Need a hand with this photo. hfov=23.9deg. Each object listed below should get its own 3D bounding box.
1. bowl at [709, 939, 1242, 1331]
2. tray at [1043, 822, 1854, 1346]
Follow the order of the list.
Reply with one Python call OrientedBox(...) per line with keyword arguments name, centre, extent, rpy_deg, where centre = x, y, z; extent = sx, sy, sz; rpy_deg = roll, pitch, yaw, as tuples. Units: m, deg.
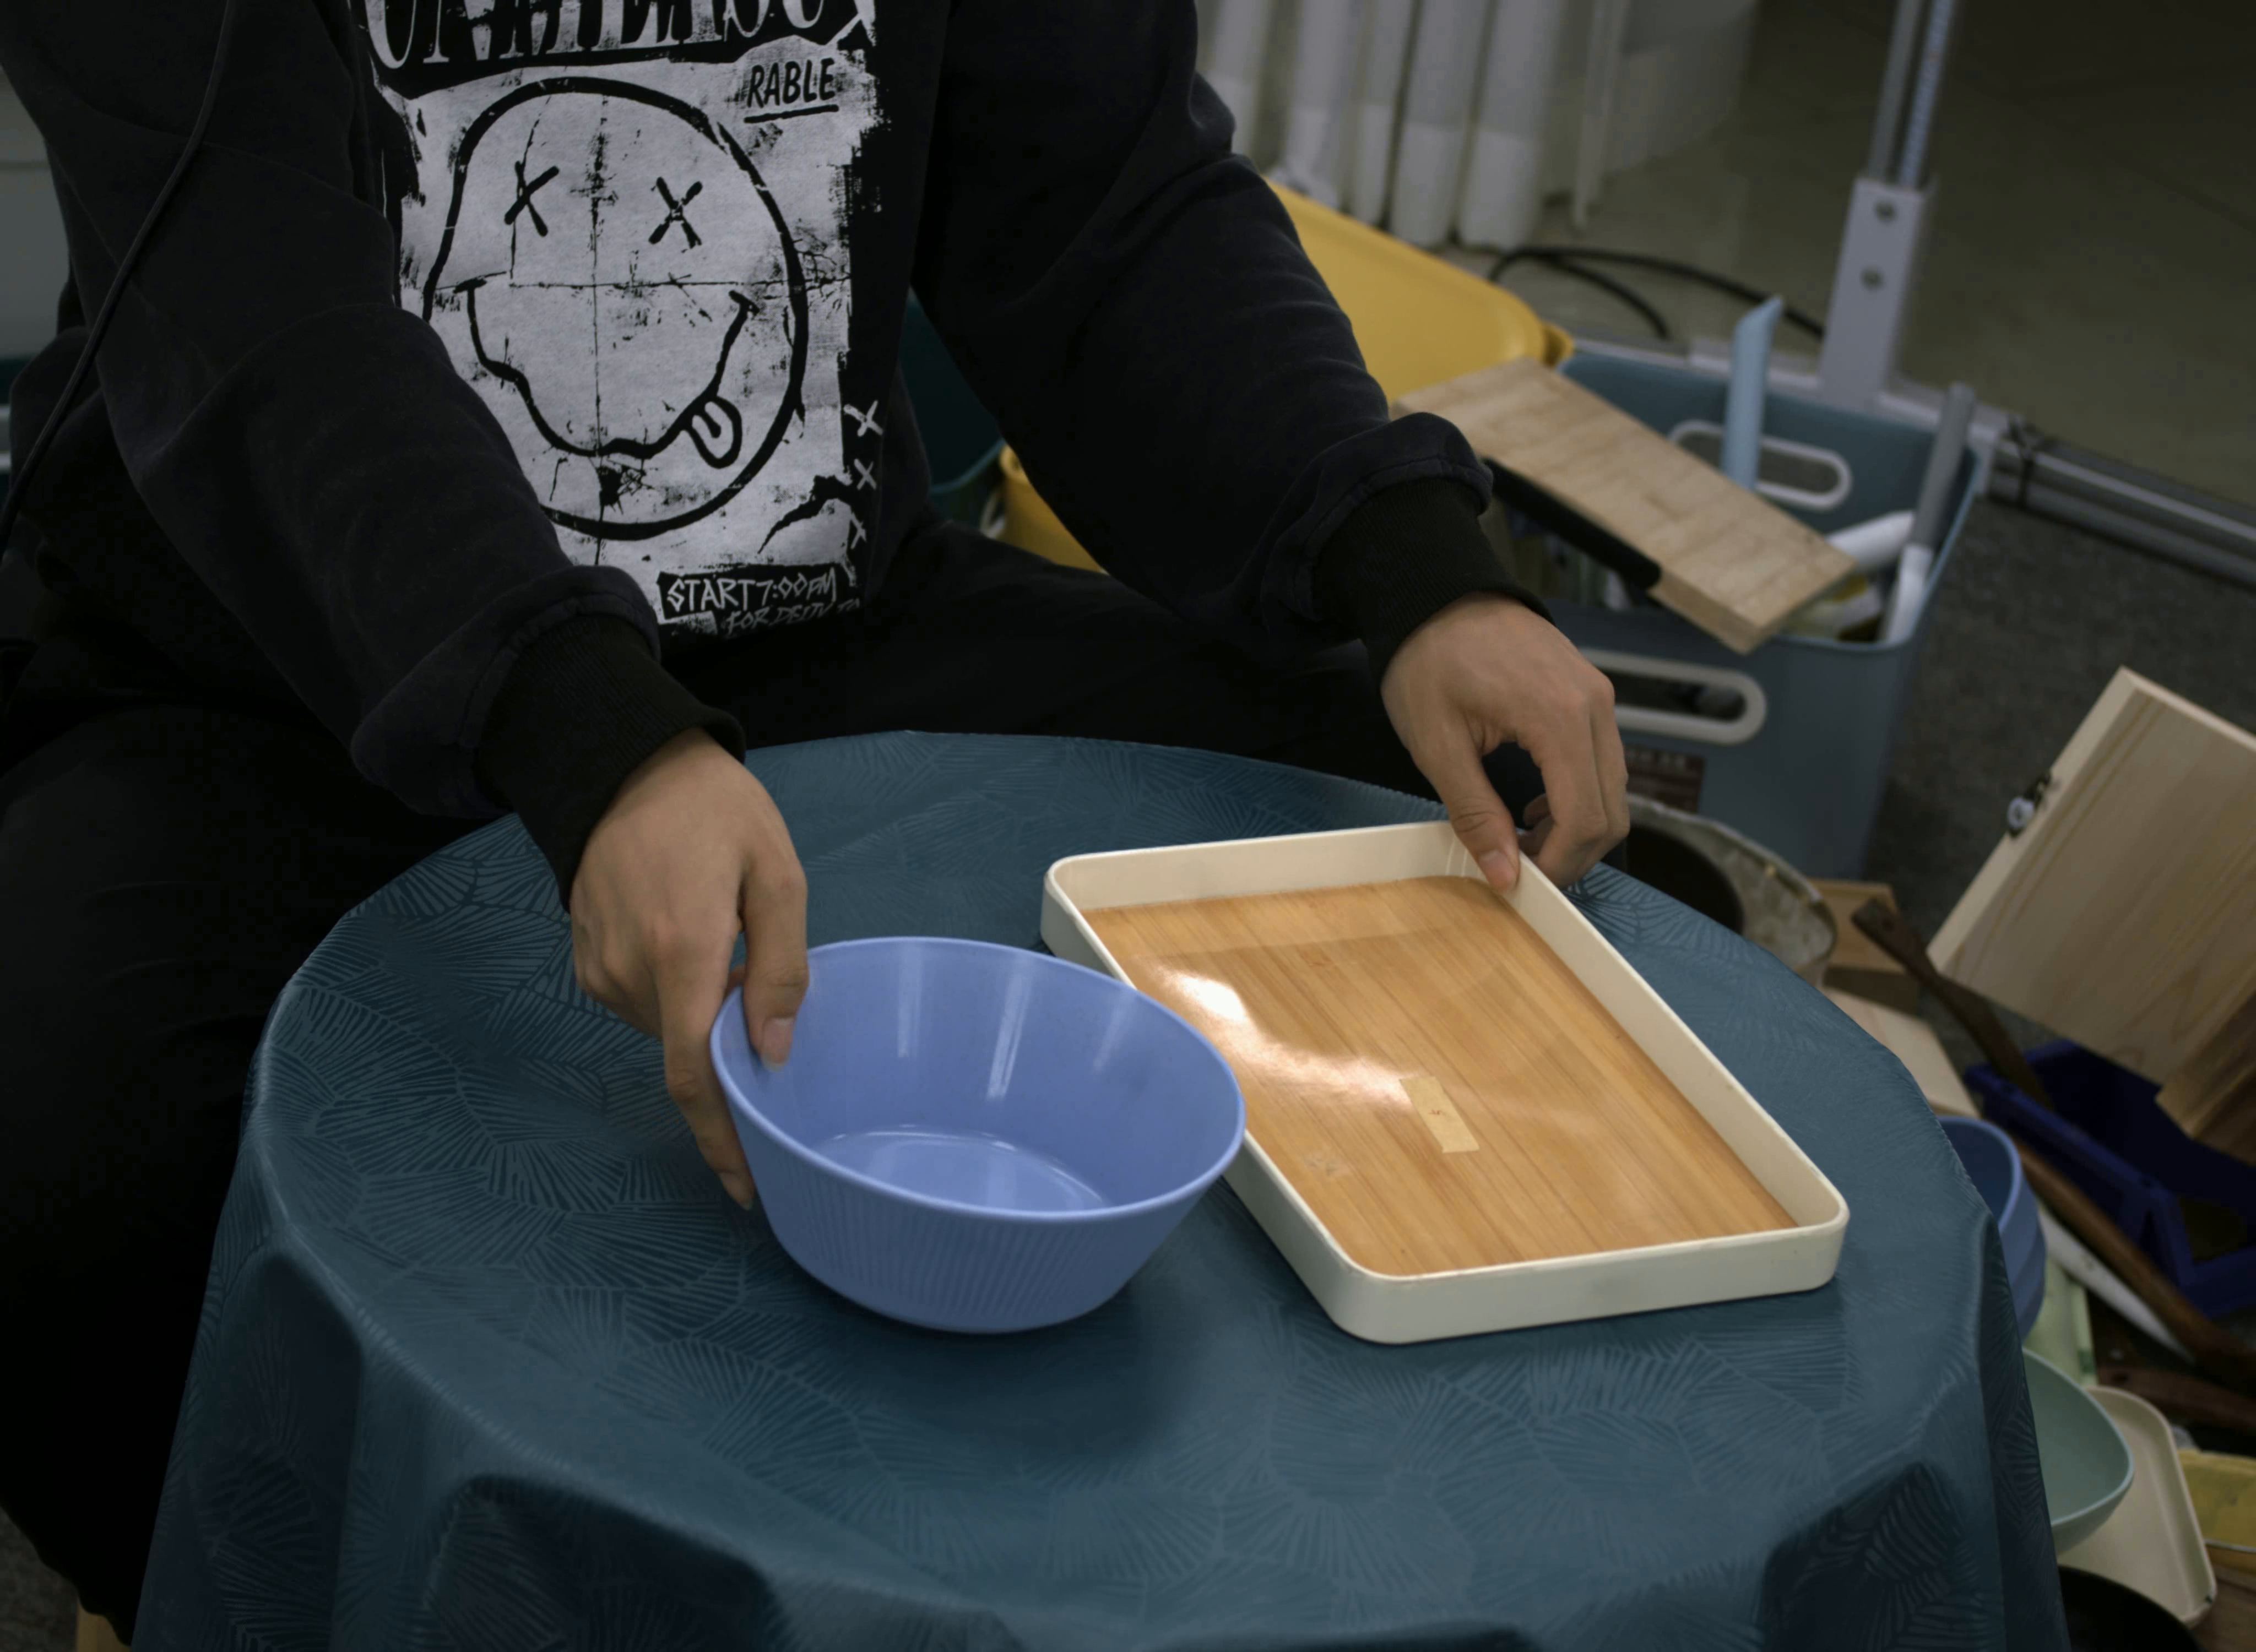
OrientedBox(name="bowl", centre=(-0.055, 0.107, 1.736), extent=(0.175, 0.070, 0.177), rpy_deg=(9, 26, -5))
OrientedBox(name="tray", centre=(0.106, 0.085, 1.873), extent=(0.190, 0.027, 0.303), rpy_deg=(-5, 29, -22))
